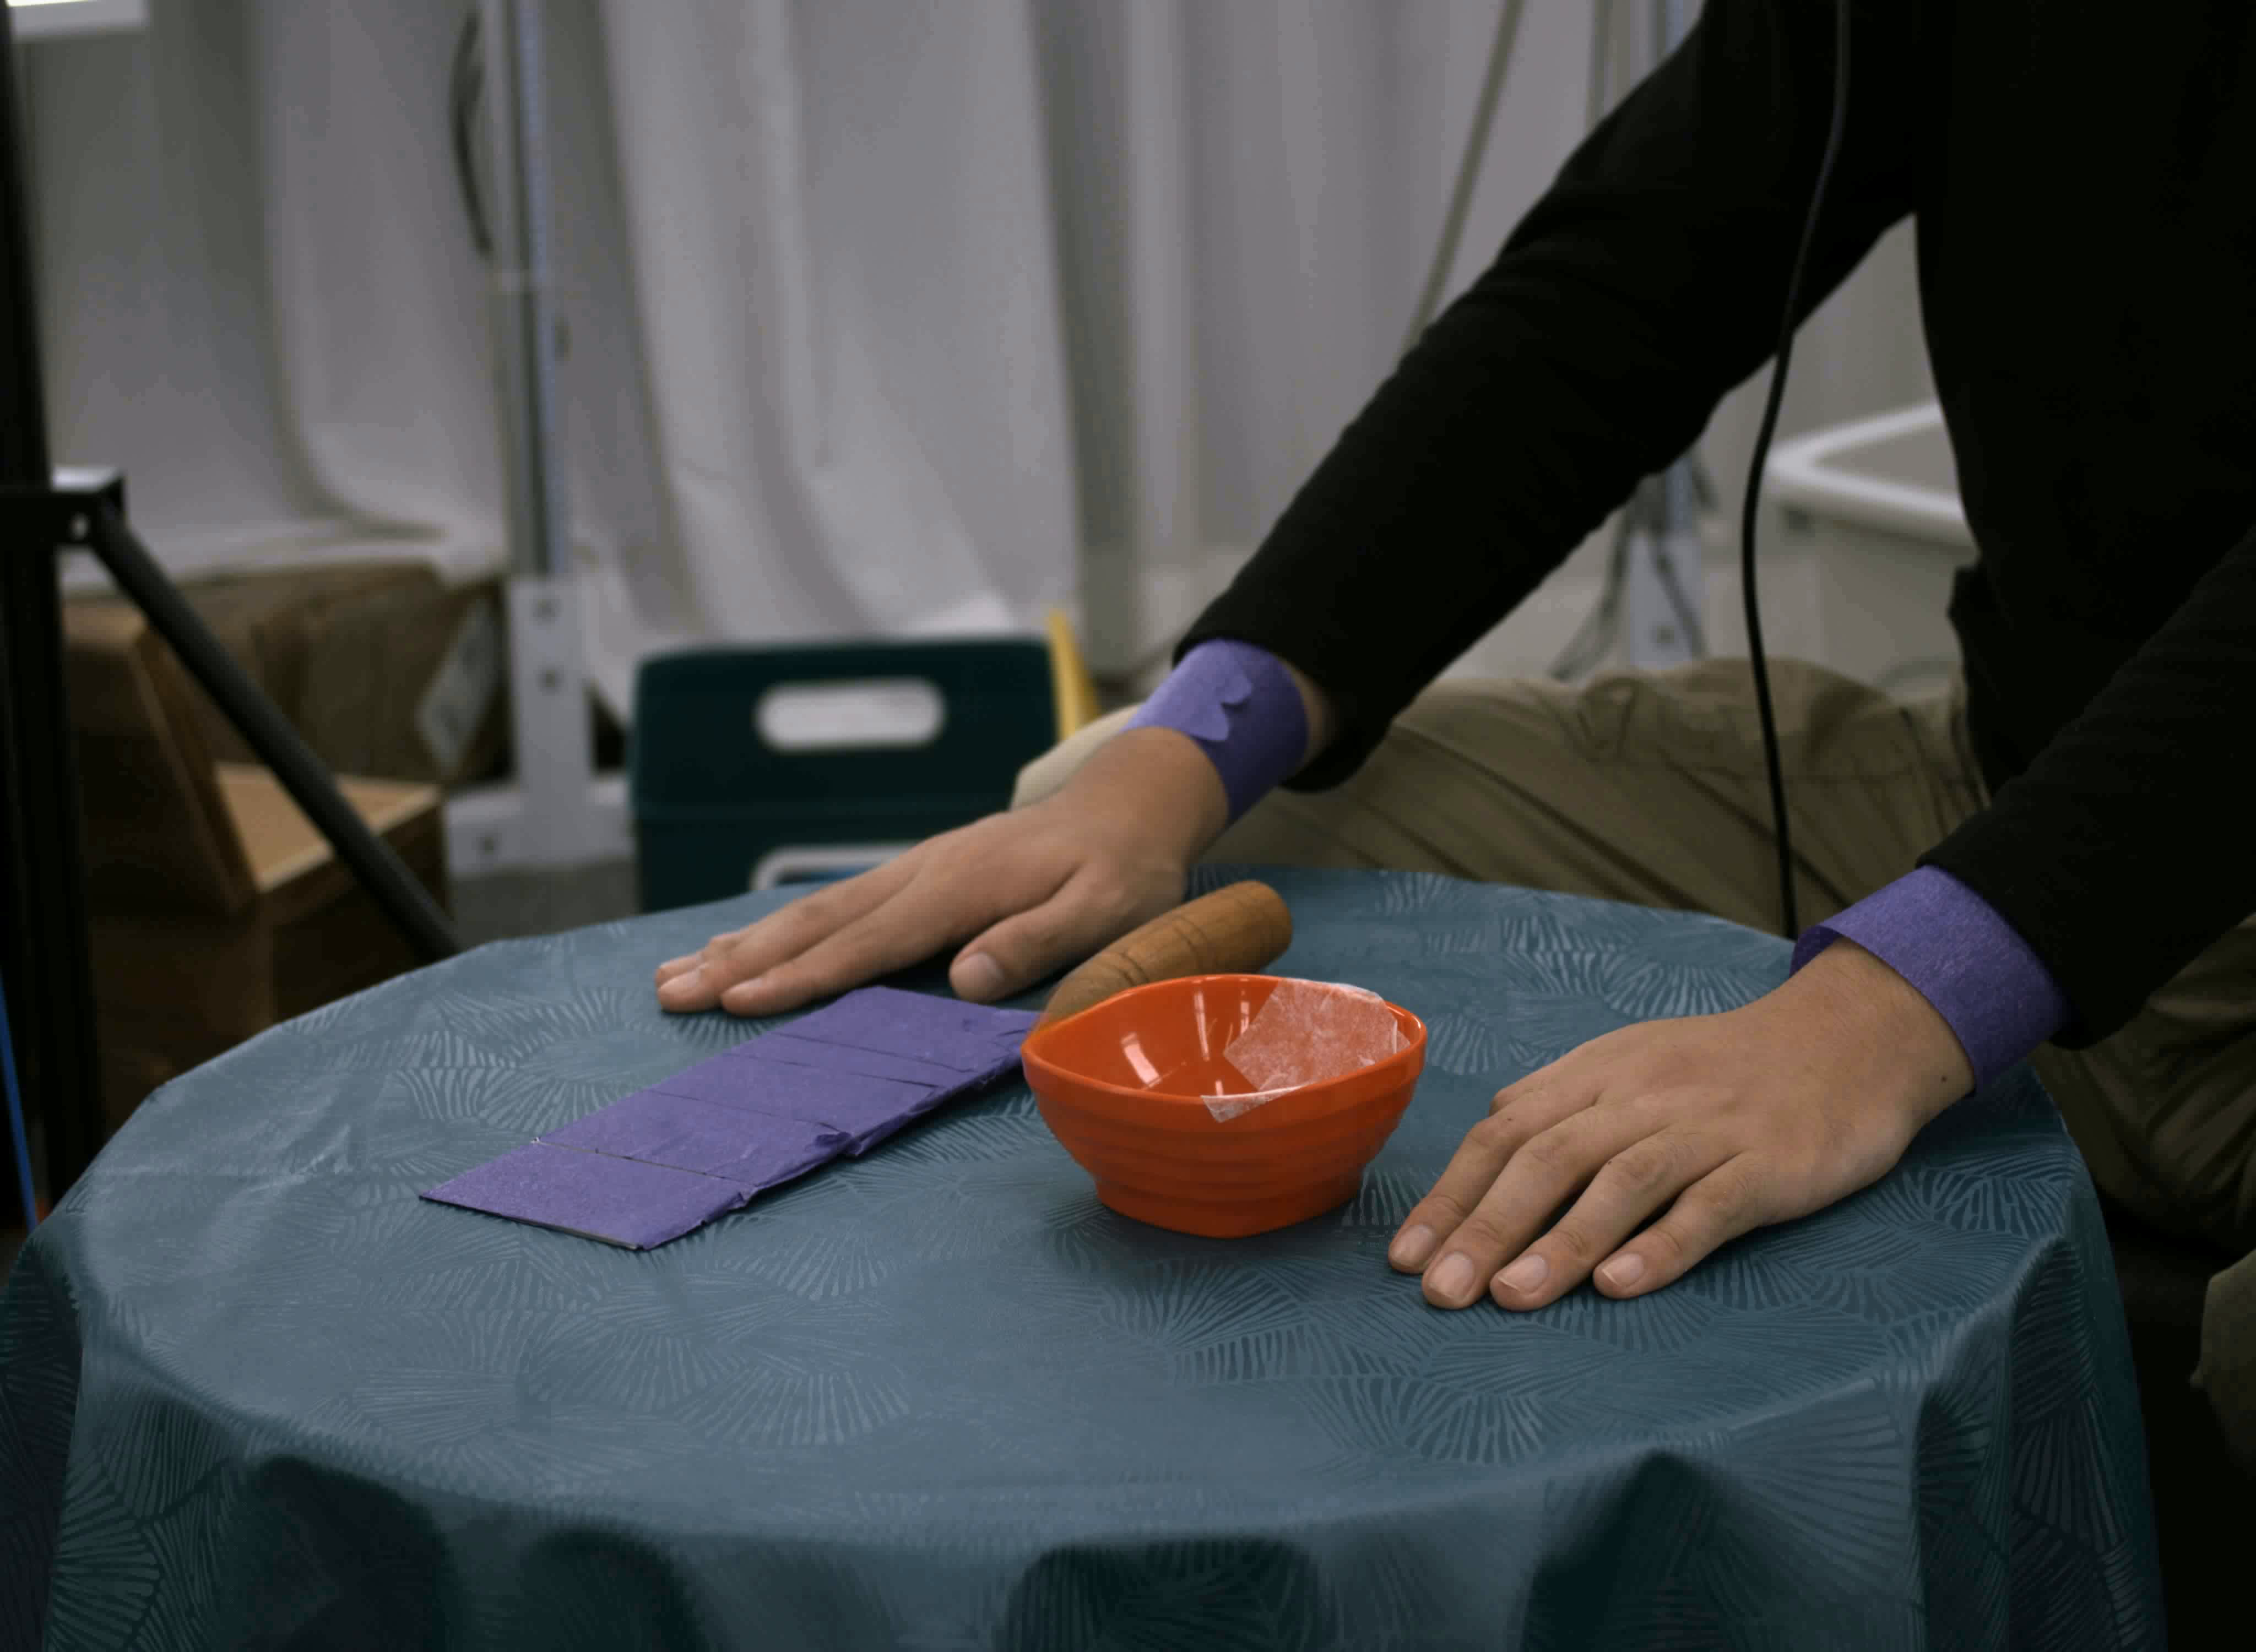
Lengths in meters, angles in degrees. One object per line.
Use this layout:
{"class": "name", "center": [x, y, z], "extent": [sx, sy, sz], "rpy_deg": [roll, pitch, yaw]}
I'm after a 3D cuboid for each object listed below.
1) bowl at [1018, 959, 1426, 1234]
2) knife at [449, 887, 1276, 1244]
{"class": "bowl", "center": [0.029, 0.081, 1.541], "extent": [0.118, 0.051, 0.119], "rpy_deg": [-6, 17, 0]}
{"class": "knife", "center": [-0.079, 0.069, 1.659], "extent": [0.106, 0.032, 0.308], "rpy_deg": [10, 21, 37]}
